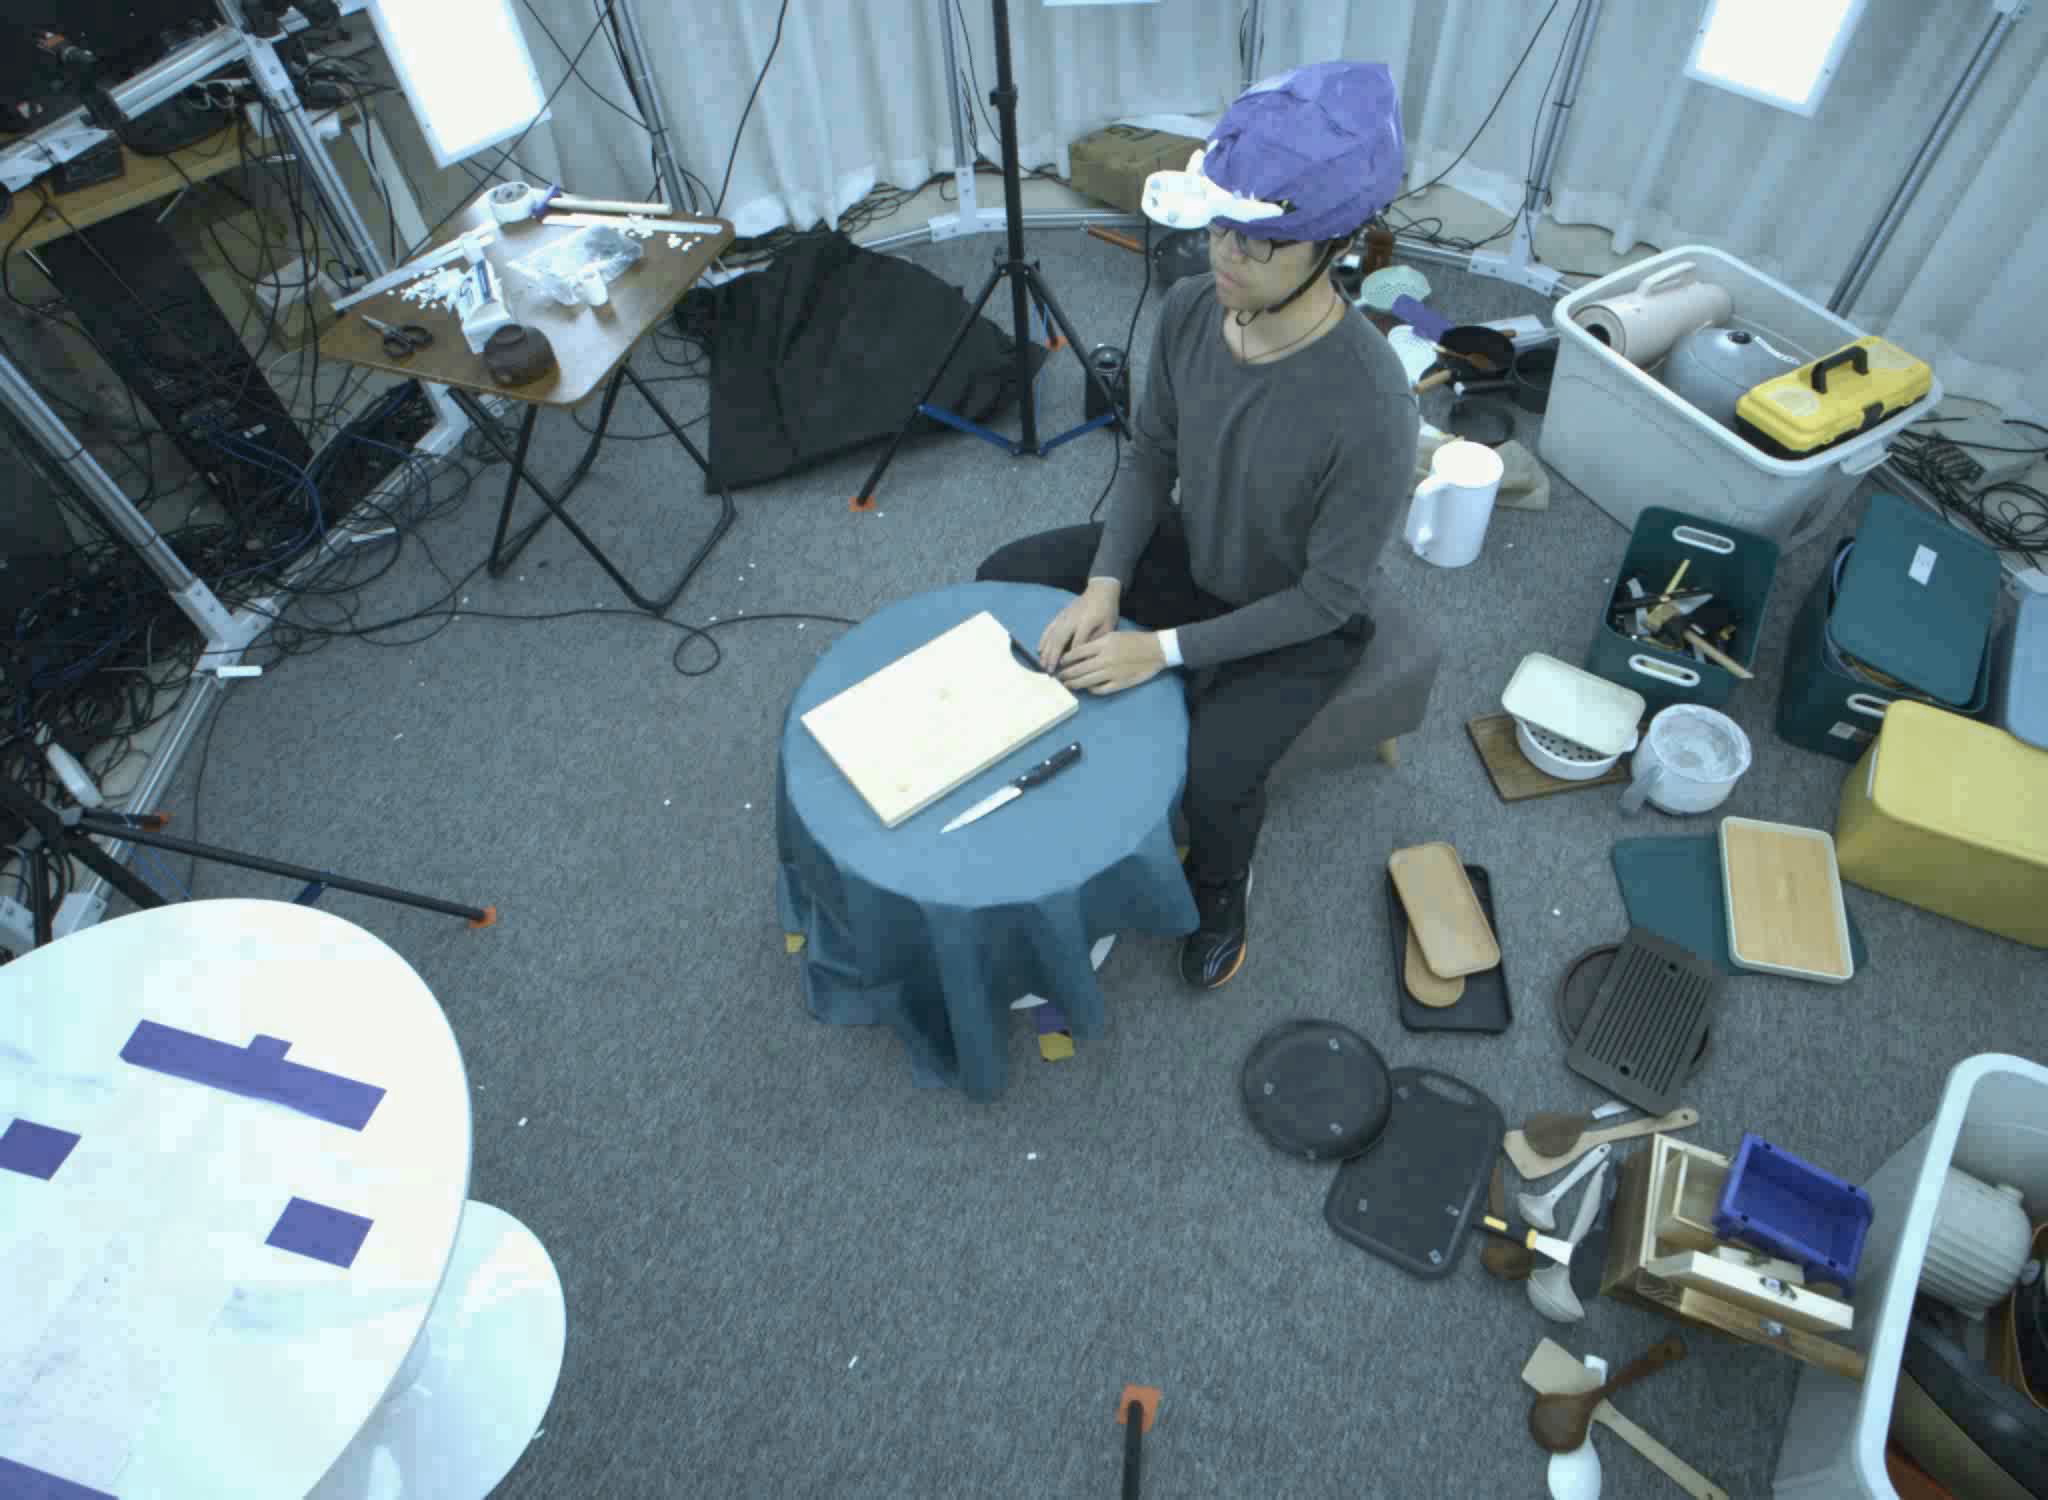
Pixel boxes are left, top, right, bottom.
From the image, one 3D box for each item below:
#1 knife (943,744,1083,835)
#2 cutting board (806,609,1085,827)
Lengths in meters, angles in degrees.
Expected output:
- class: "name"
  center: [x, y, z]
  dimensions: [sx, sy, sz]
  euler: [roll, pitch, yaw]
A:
- class: "knife"
  center: [-0.017, 0.055, 1.749]
  dimensions: [0.240, 0.016, 0.024]
  euler: [-32, 58, -17]
- class: "cutting board"
  center: [-0.120, -0.057, 1.829]
  dimensions: [0.351, 0.024, 0.246]
  euler: [-33, 61, -20]
